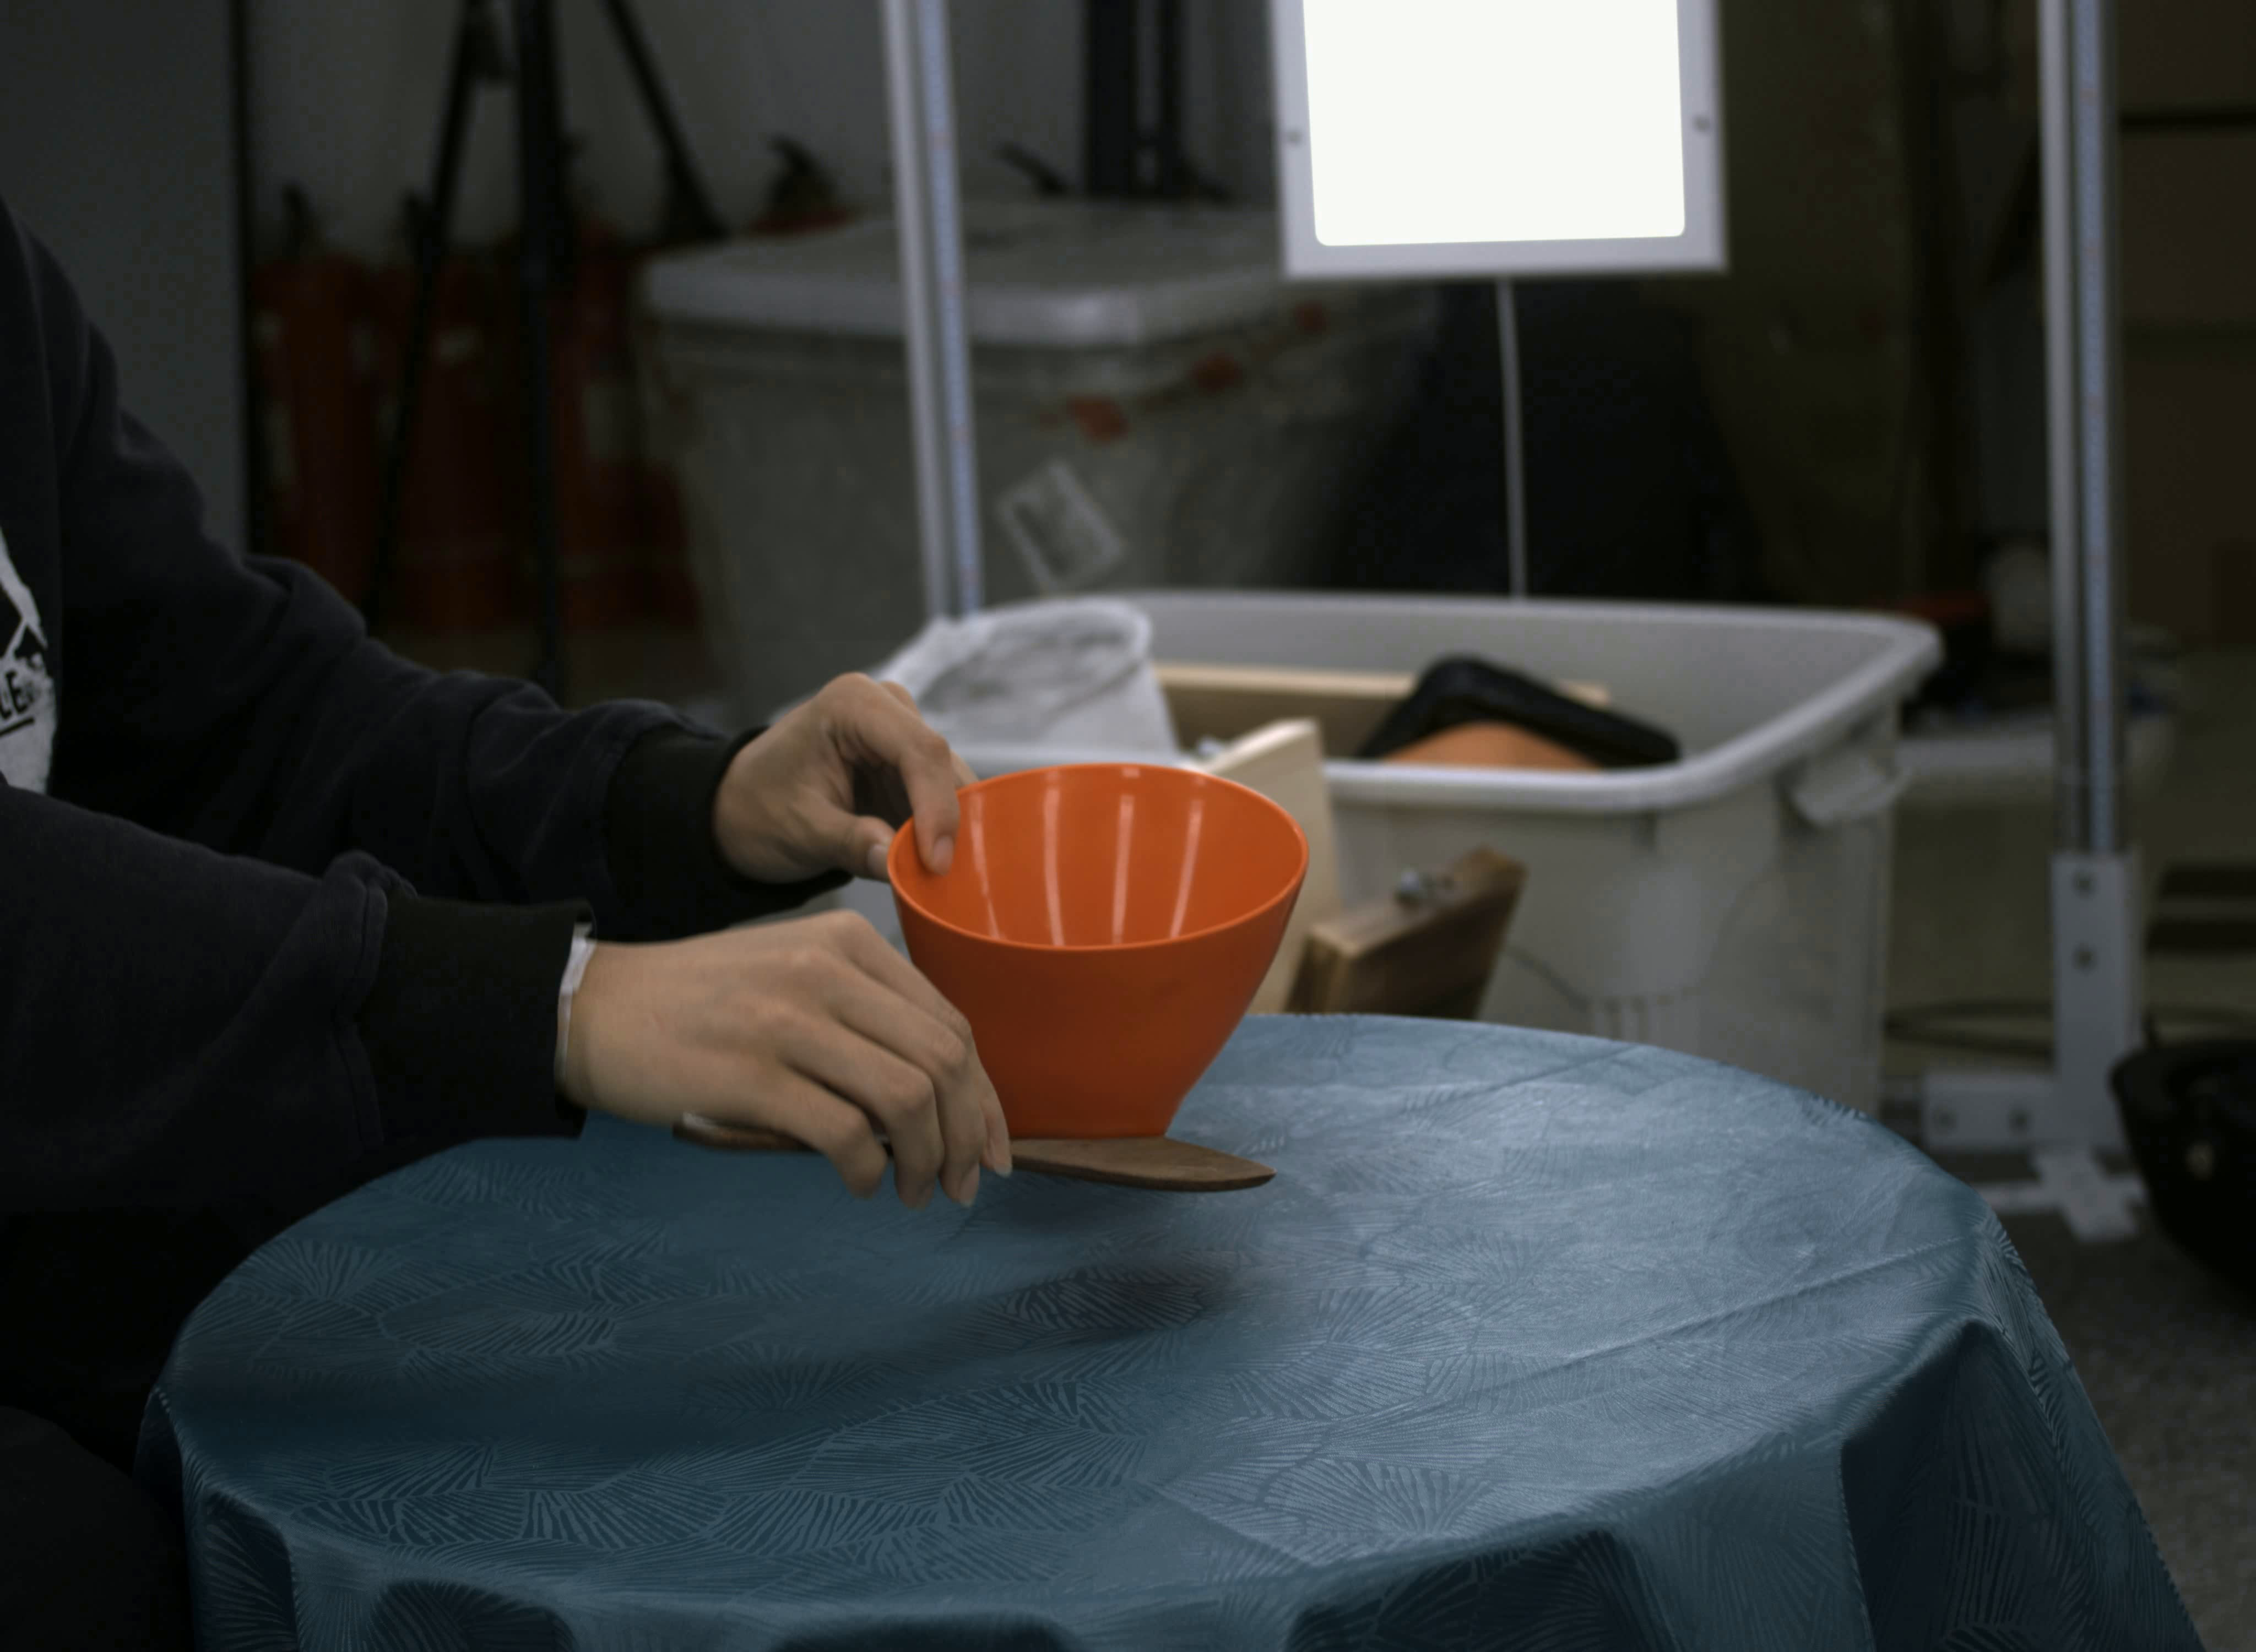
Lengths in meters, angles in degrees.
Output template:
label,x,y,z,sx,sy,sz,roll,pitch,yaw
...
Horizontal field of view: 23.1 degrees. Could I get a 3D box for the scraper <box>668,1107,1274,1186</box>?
label,x,y,z,sx,sy,sz,roll,pitch,yaw
scraper,-0.052,0.100,1.740,0.206,0.011,0.077,7,2,-35

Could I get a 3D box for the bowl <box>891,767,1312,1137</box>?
label,x,y,z,sx,sy,sz,roll,pitch,yaw
bowl,-0.010,0.049,1.929,0.147,0.105,0.148,1,16,-2
